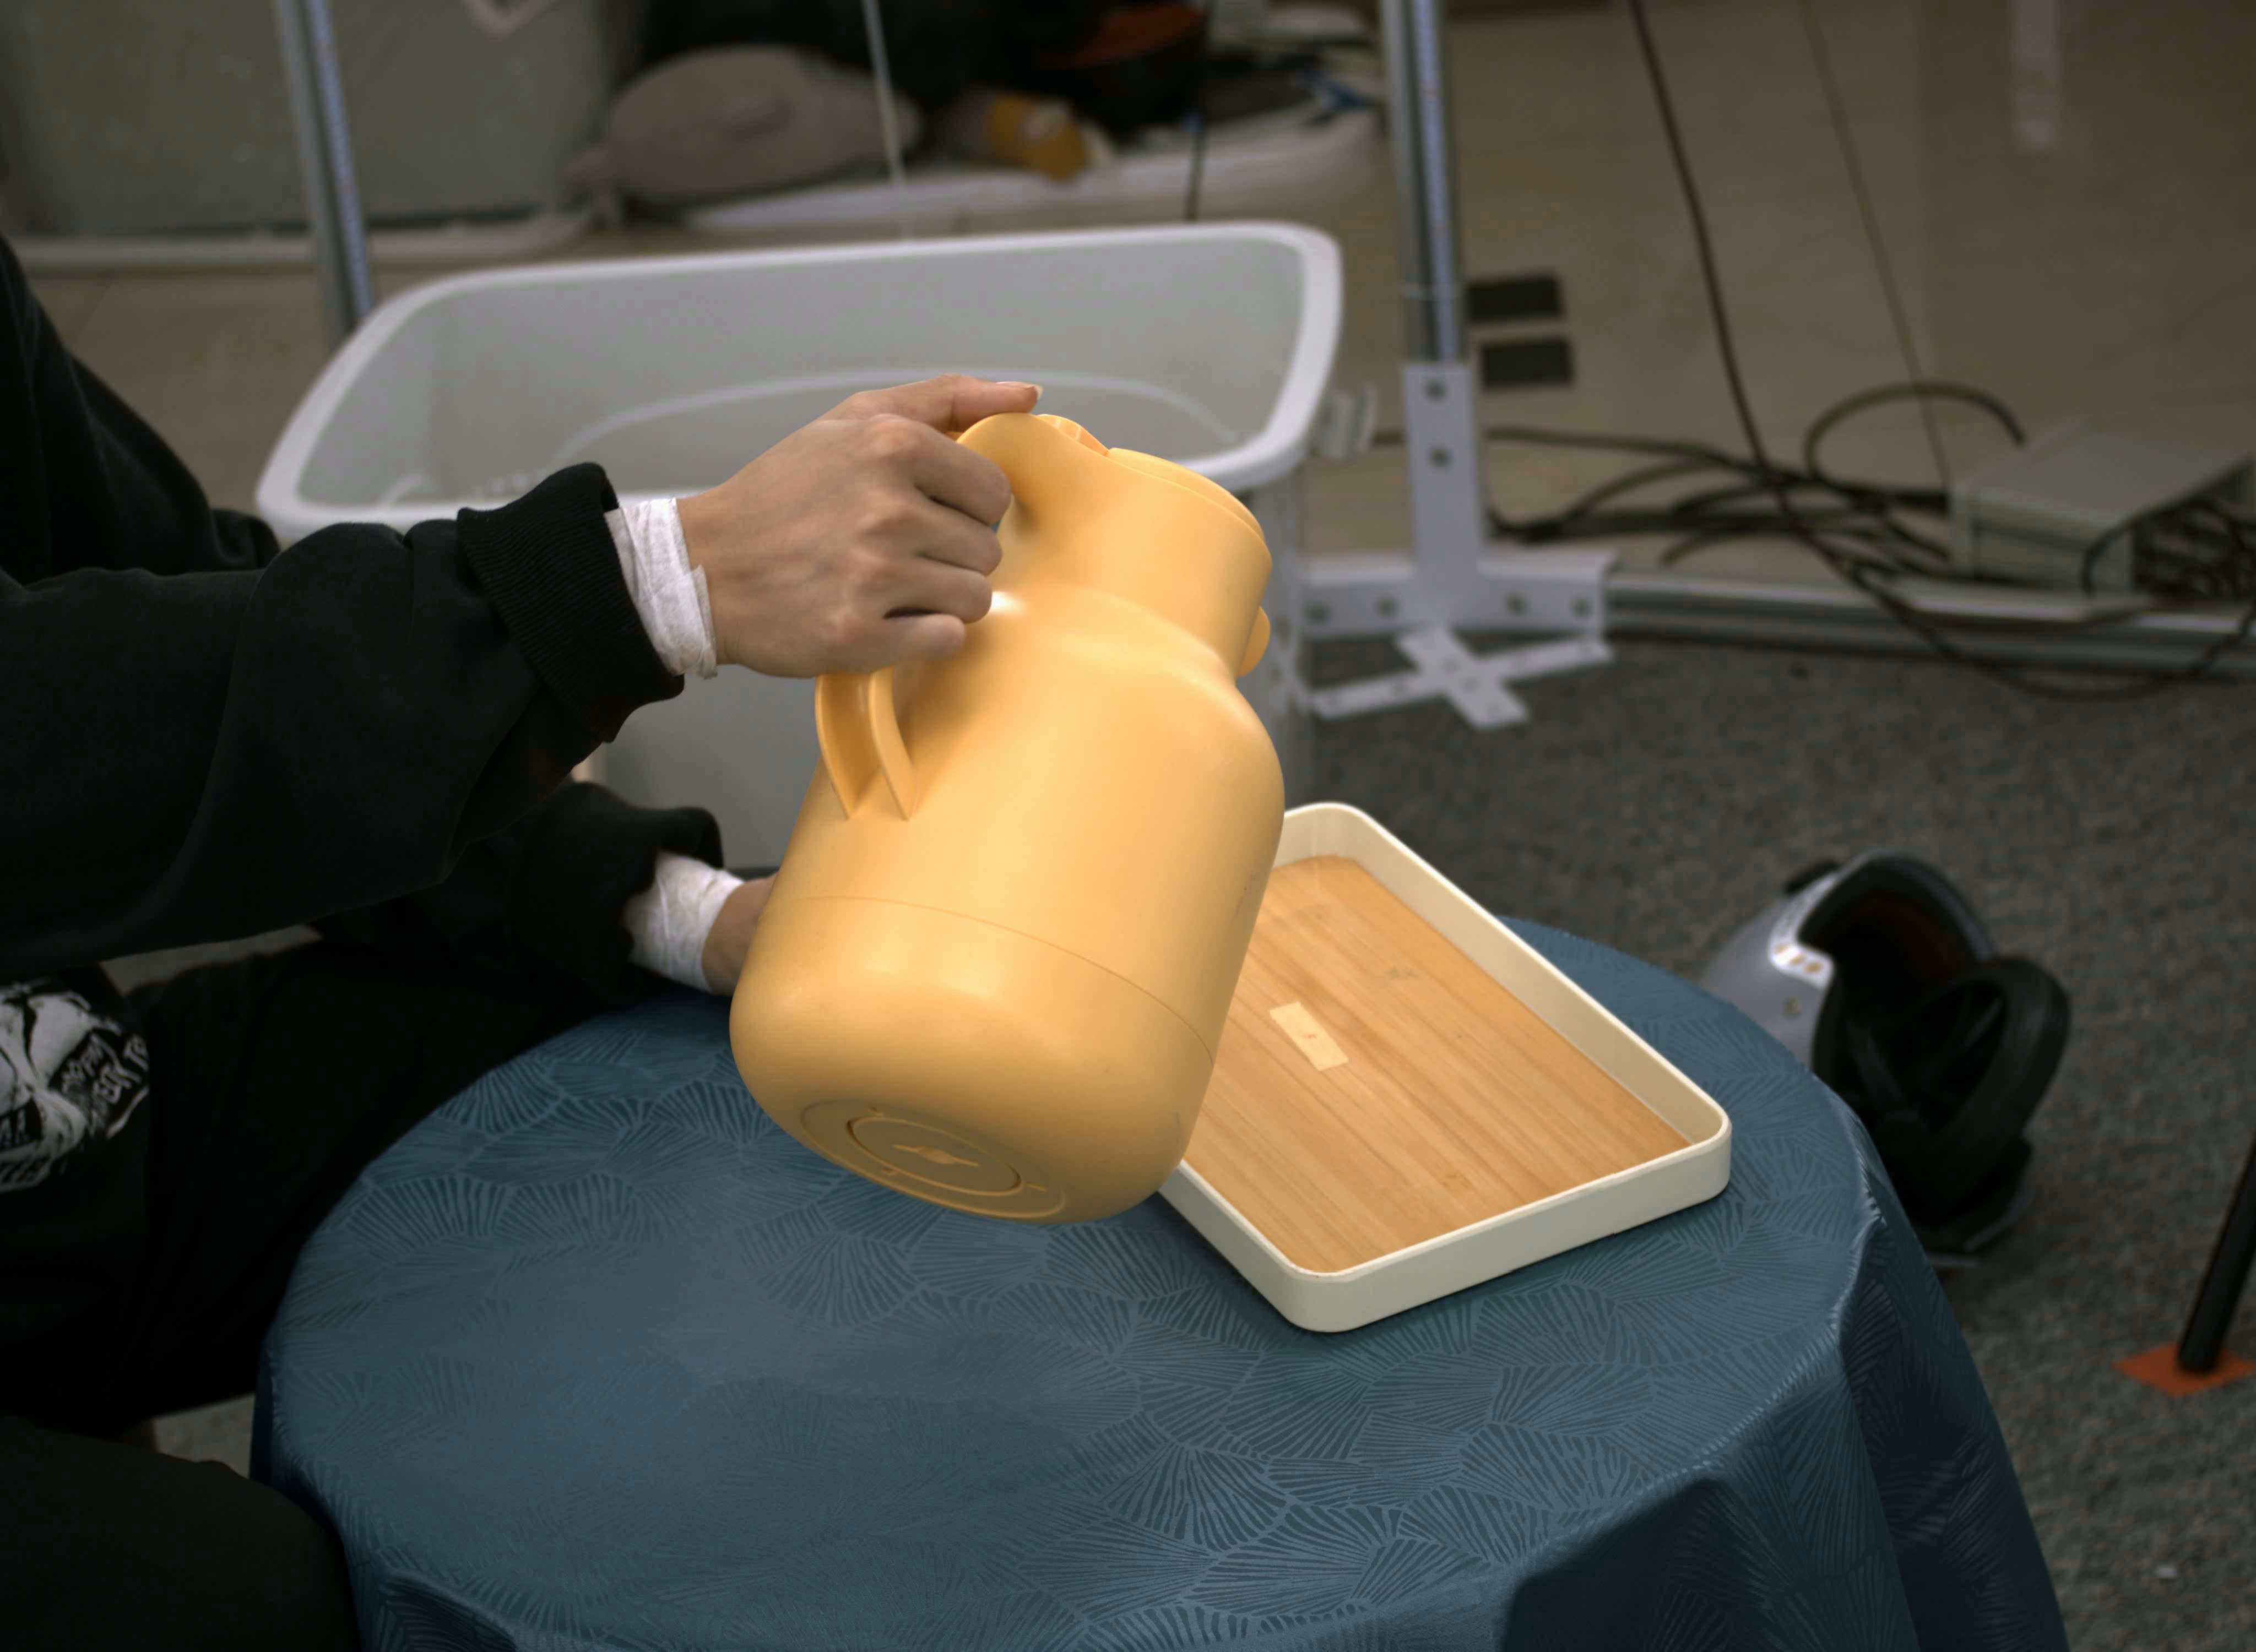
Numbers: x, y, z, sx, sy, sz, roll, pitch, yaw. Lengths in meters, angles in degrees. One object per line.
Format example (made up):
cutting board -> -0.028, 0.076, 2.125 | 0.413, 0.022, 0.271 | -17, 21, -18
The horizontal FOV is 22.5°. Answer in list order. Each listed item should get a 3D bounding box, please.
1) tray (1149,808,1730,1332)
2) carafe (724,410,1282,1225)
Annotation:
tray -> 0.075, 0.088, 2.172 | 0.190, 0.028, 0.296 | -17, 33, -23
carafe -> -0.042, -0.012, 1.941 | 0.163, 0.205, 0.257 | -1, 62, 40
